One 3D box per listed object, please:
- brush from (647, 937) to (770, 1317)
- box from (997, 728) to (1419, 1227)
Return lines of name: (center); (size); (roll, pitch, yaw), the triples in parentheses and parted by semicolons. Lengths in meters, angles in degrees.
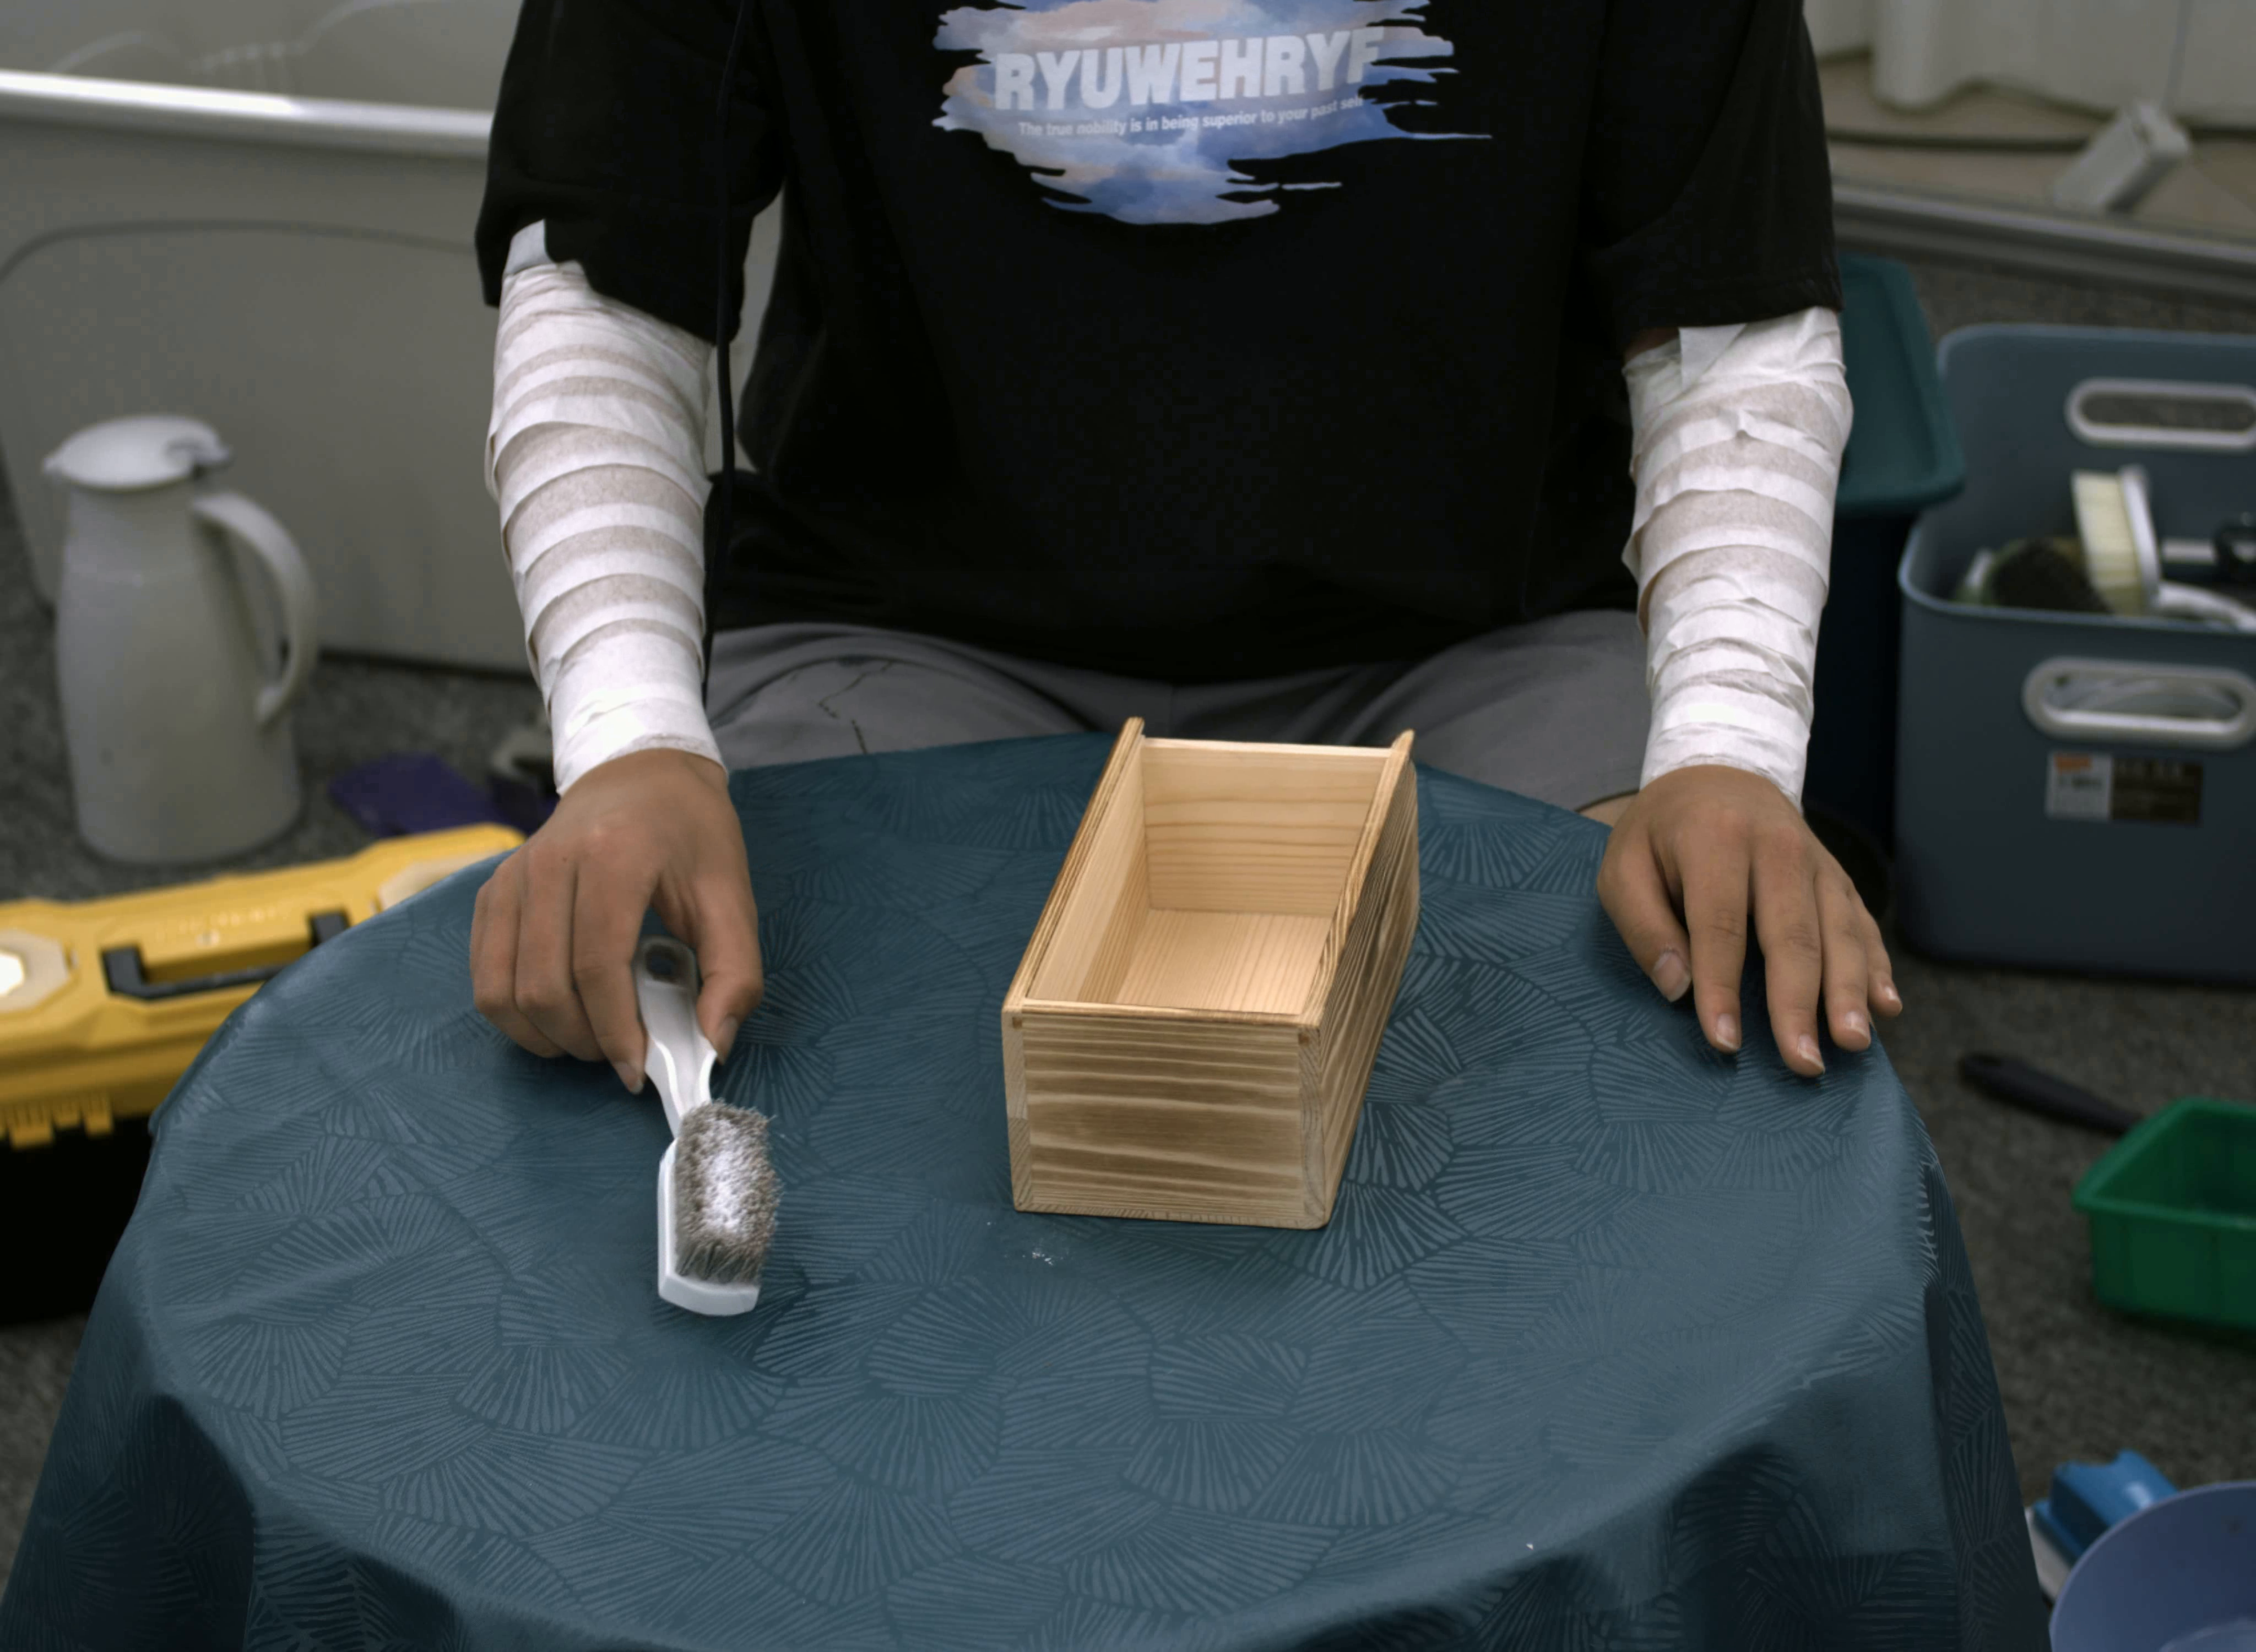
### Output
brush: (-0.144, 0.084, 1.887); (0.034, 0.049, 0.247); (10, 27, -11)
box: (0.031, 0.048, 1.917); (0.107, 0.079, 0.215); (2, 26, 11)
